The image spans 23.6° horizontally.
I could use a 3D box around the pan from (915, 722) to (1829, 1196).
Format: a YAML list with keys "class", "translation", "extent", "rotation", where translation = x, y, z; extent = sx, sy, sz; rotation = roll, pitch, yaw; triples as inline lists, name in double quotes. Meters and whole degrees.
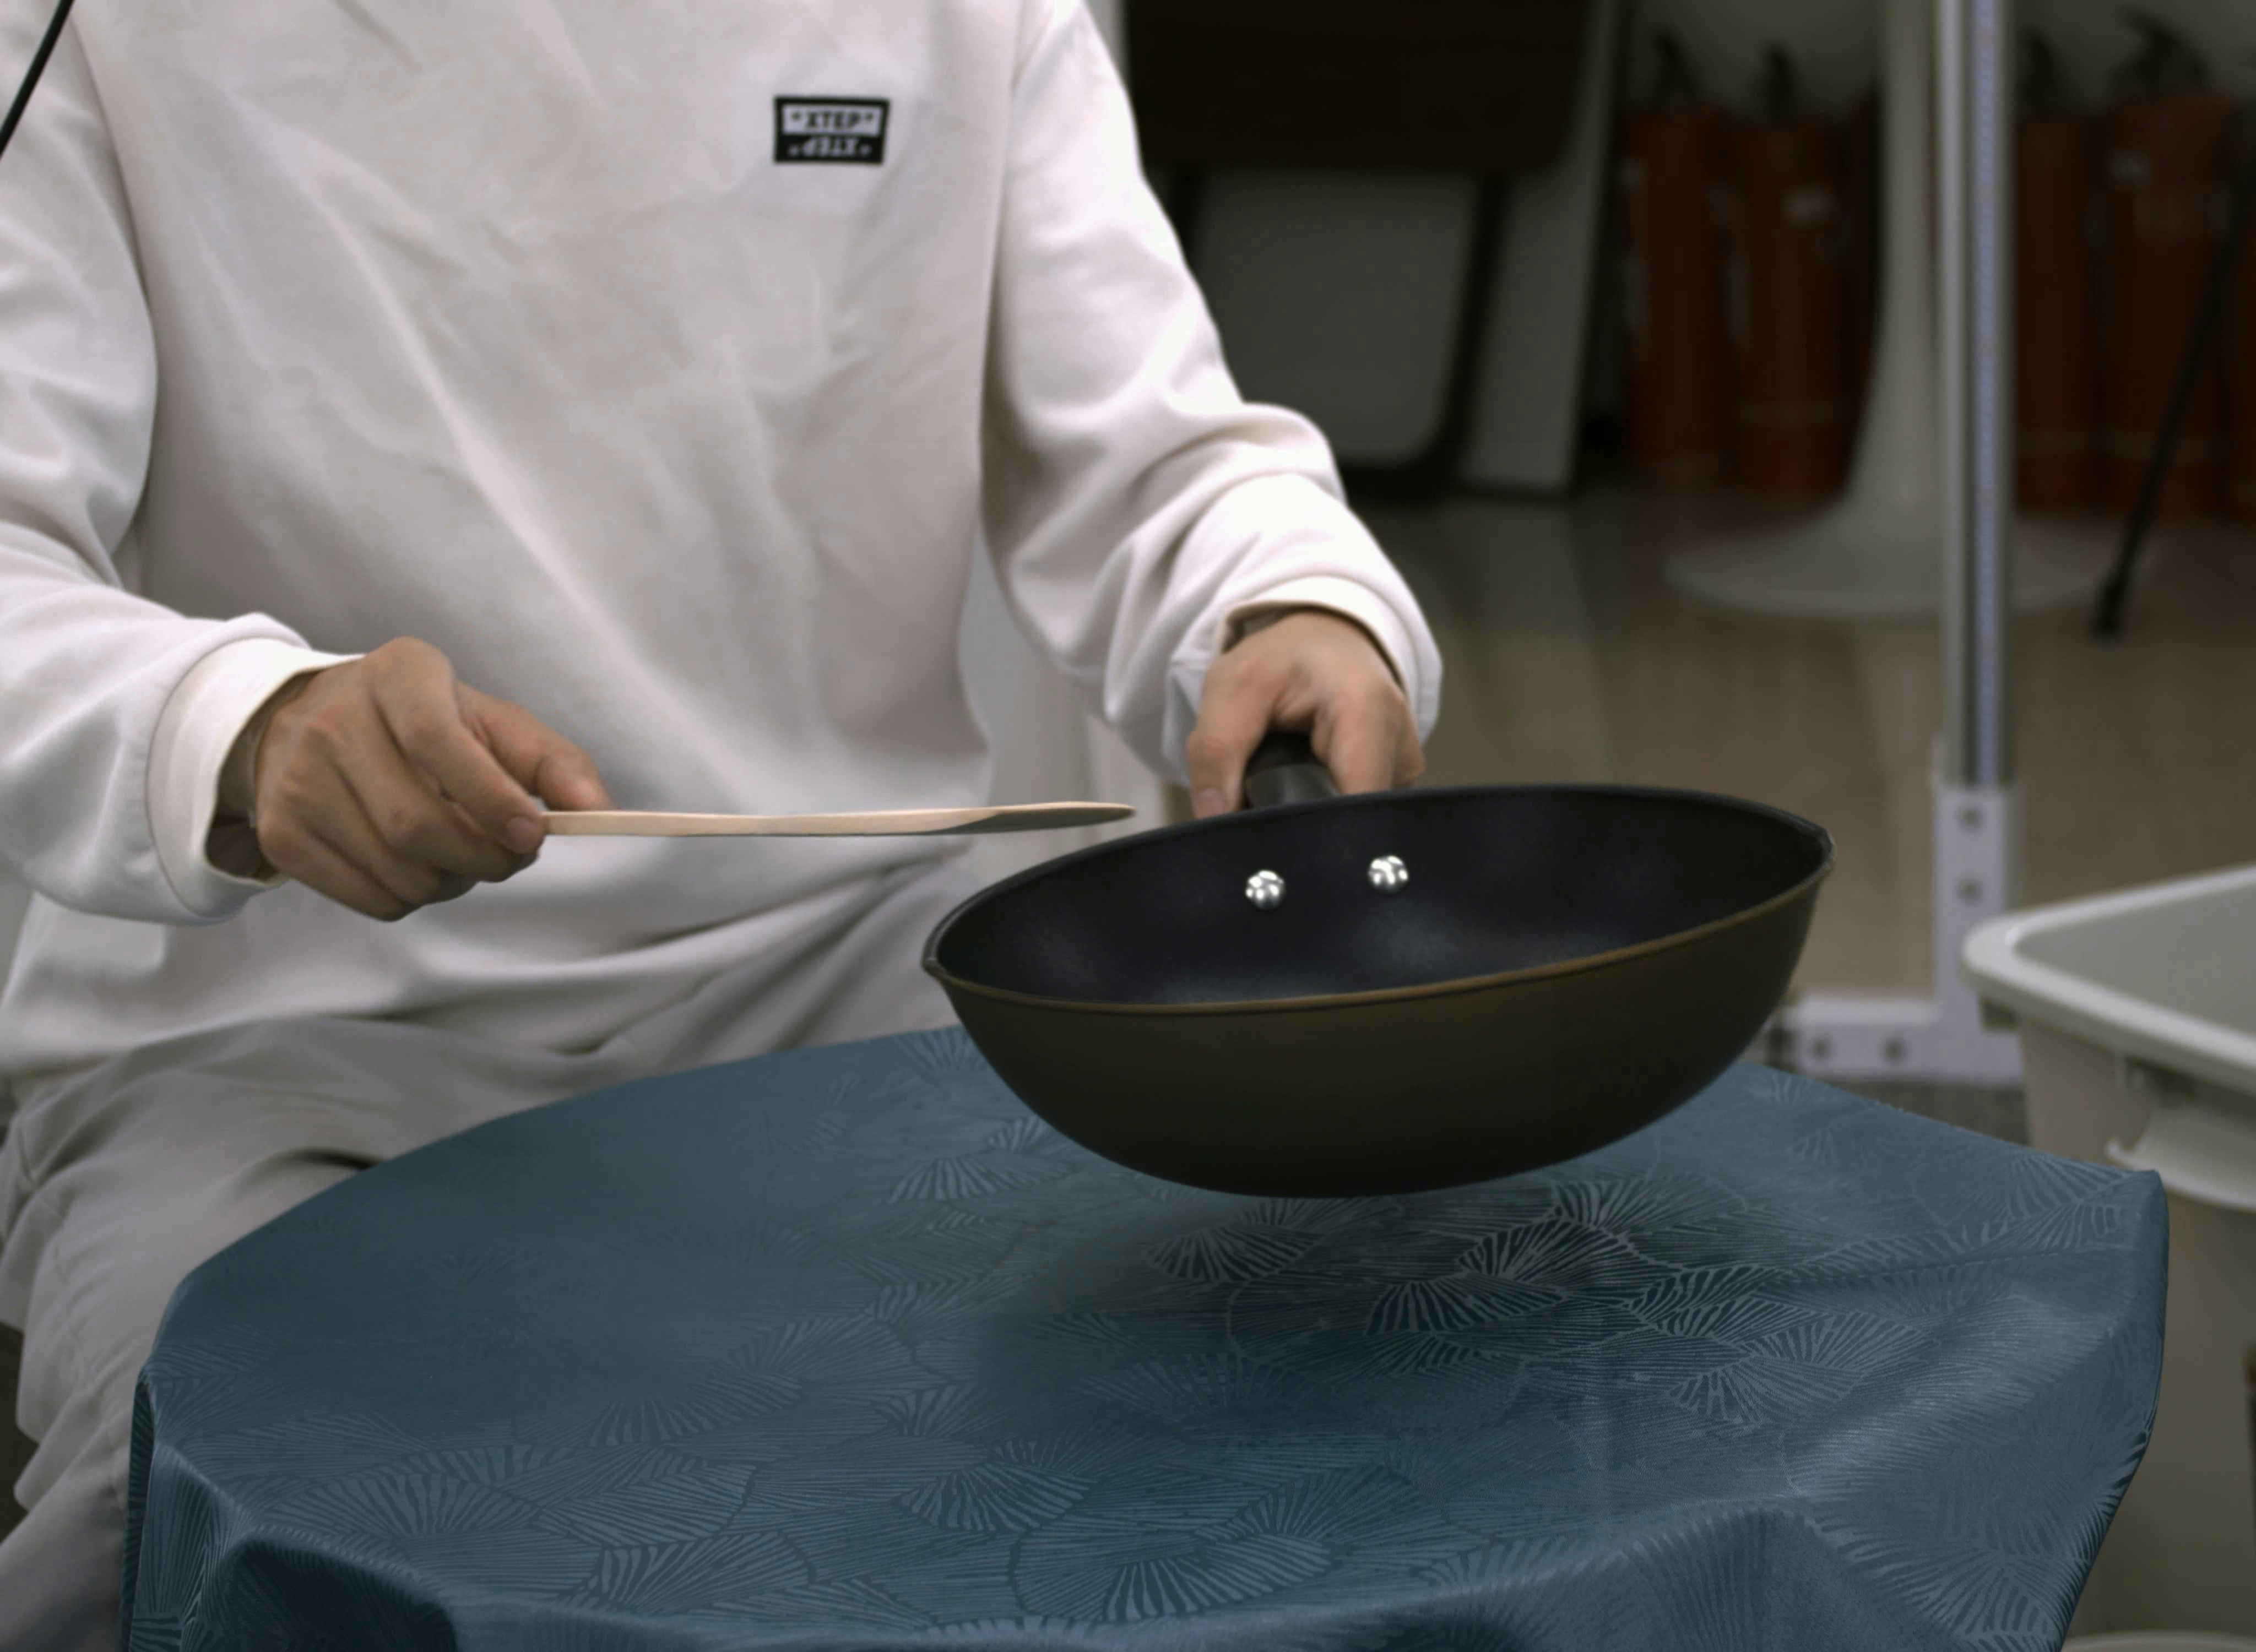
- class: "pan"
  translation: [0.070, 0.039, 1.754]
  extent: [0.284, 0.088, 0.465]
  rotation: [-8, 10, -4]

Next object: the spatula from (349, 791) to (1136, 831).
- class: "spatula"
  translation: [-0.130, -0.003, 1.642]
  extent: [0.295, 0.011, 0.071]
  rotation: [-1, -1, 39]
